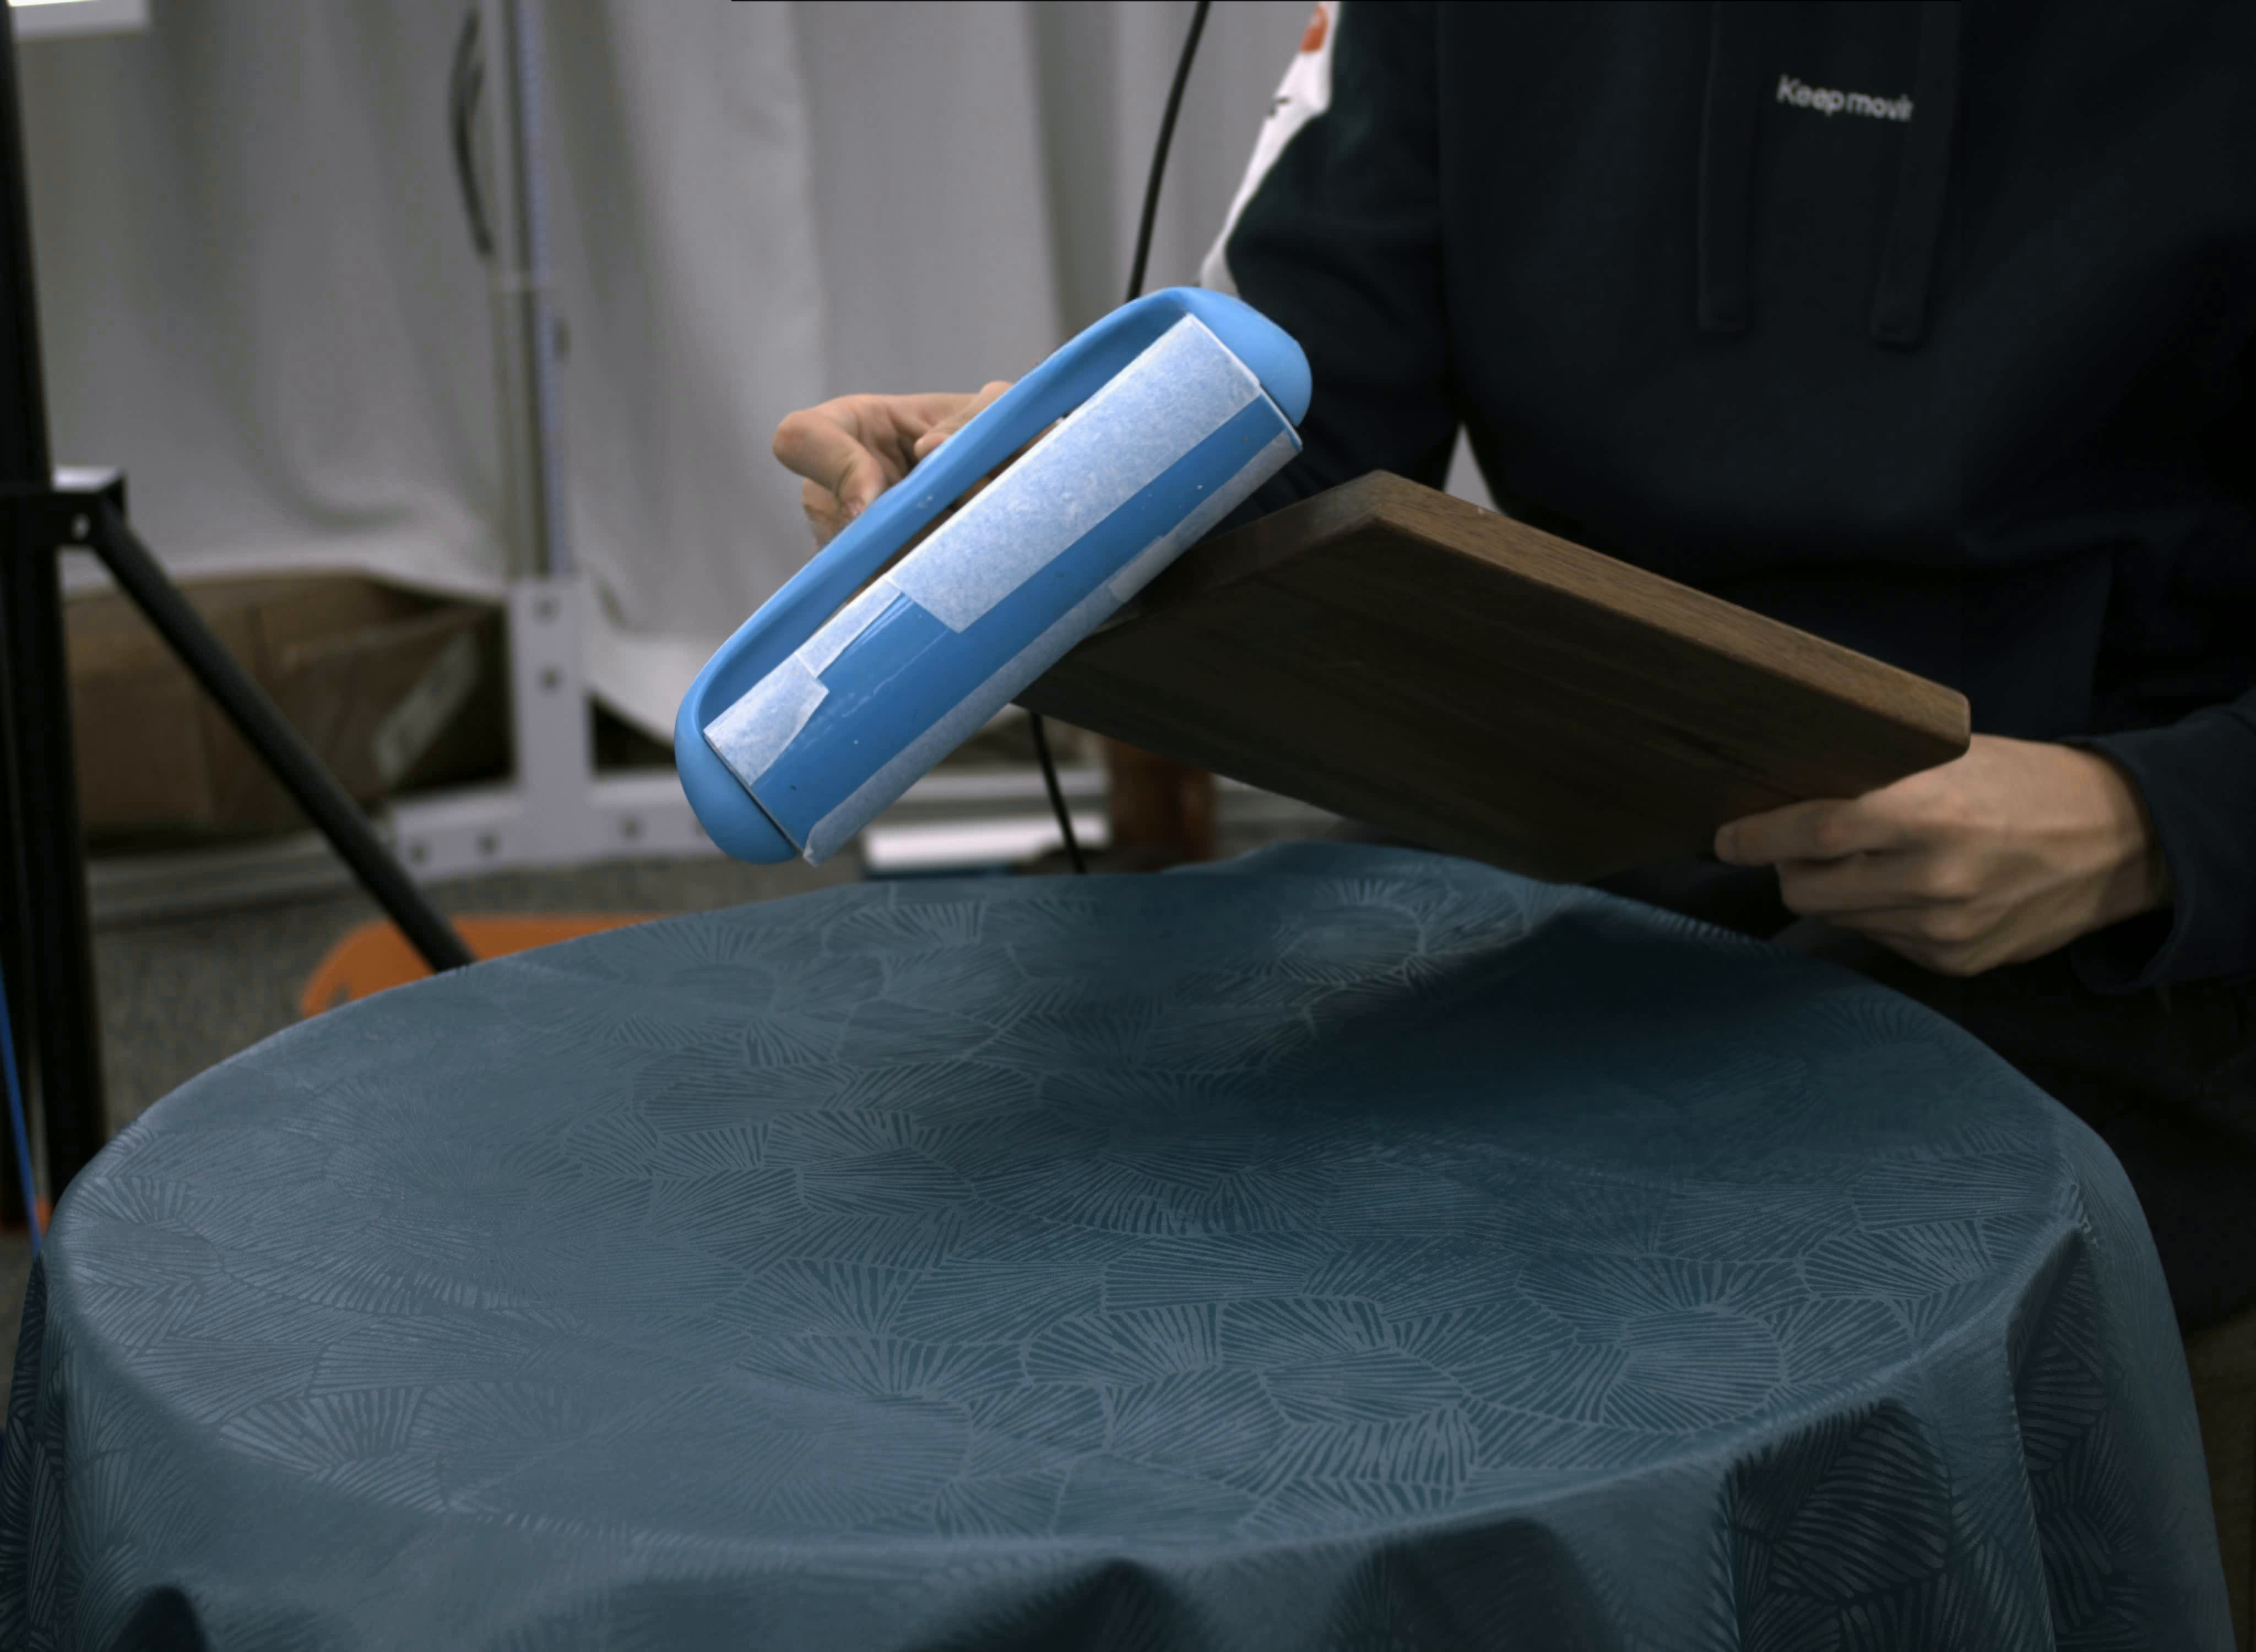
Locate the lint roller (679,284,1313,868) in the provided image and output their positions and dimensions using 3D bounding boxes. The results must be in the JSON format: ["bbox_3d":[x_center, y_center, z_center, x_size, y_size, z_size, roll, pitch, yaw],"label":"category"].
[{"bbox_3d":[-0.050,-0.082,1.644,0.228,0.067,0.182,-43,16,-2],"label":"lint roller"}]

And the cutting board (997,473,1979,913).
[{"bbox_3d":[0.146,-0.027,1.685,0.343,0.023,0.204,19,-24,-33],"label":"cutting board"}]
